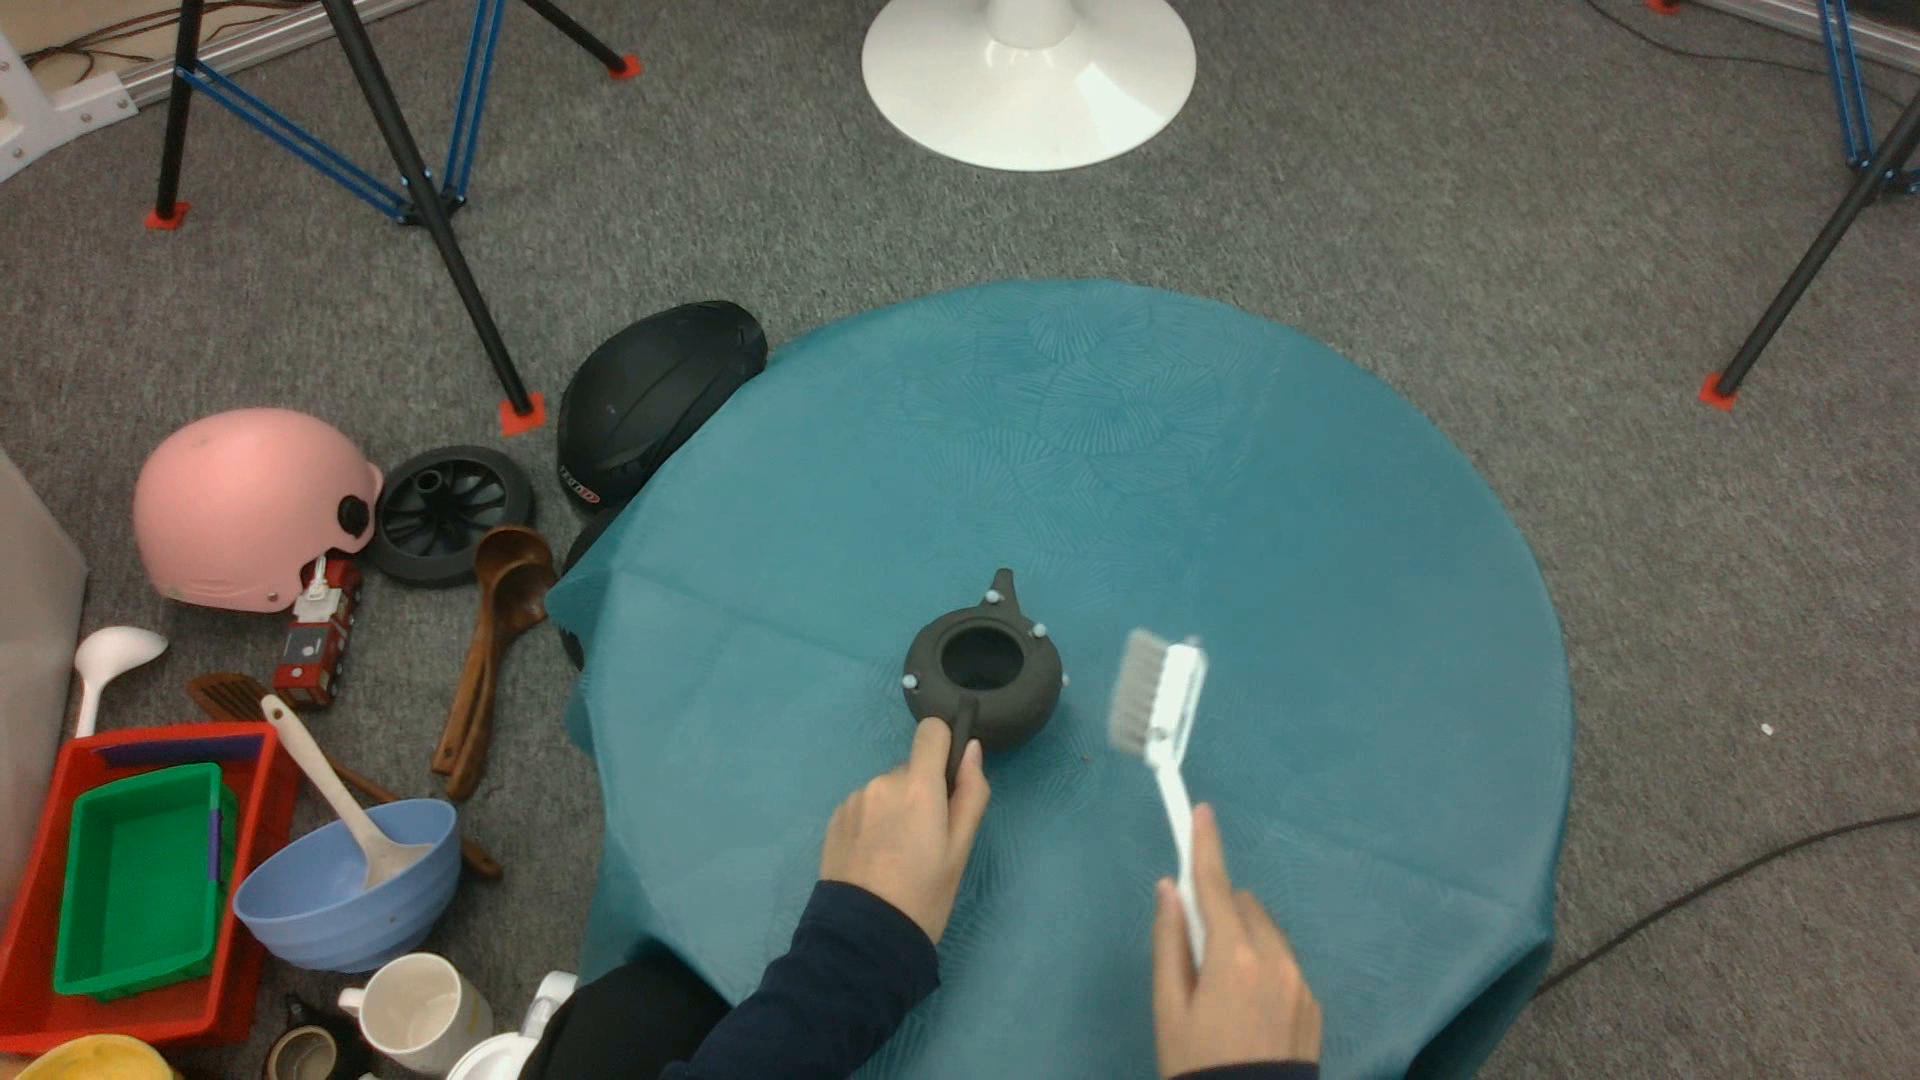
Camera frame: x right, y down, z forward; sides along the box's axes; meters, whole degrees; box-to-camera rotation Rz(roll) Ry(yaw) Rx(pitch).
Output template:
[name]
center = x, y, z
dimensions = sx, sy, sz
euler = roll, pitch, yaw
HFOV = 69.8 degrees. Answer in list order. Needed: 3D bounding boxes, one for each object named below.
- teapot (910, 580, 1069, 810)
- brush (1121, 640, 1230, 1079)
[teapot]
center = 0.017, 0.092, 0.807
dimensions = 0.092, 0.064, 0.155
euler = 10, 48, 11
[brush]
center = 0.111, 0.172, 0.717
dimensions = 0.050, 0.034, 0.244
euler = -6, 69, 18
